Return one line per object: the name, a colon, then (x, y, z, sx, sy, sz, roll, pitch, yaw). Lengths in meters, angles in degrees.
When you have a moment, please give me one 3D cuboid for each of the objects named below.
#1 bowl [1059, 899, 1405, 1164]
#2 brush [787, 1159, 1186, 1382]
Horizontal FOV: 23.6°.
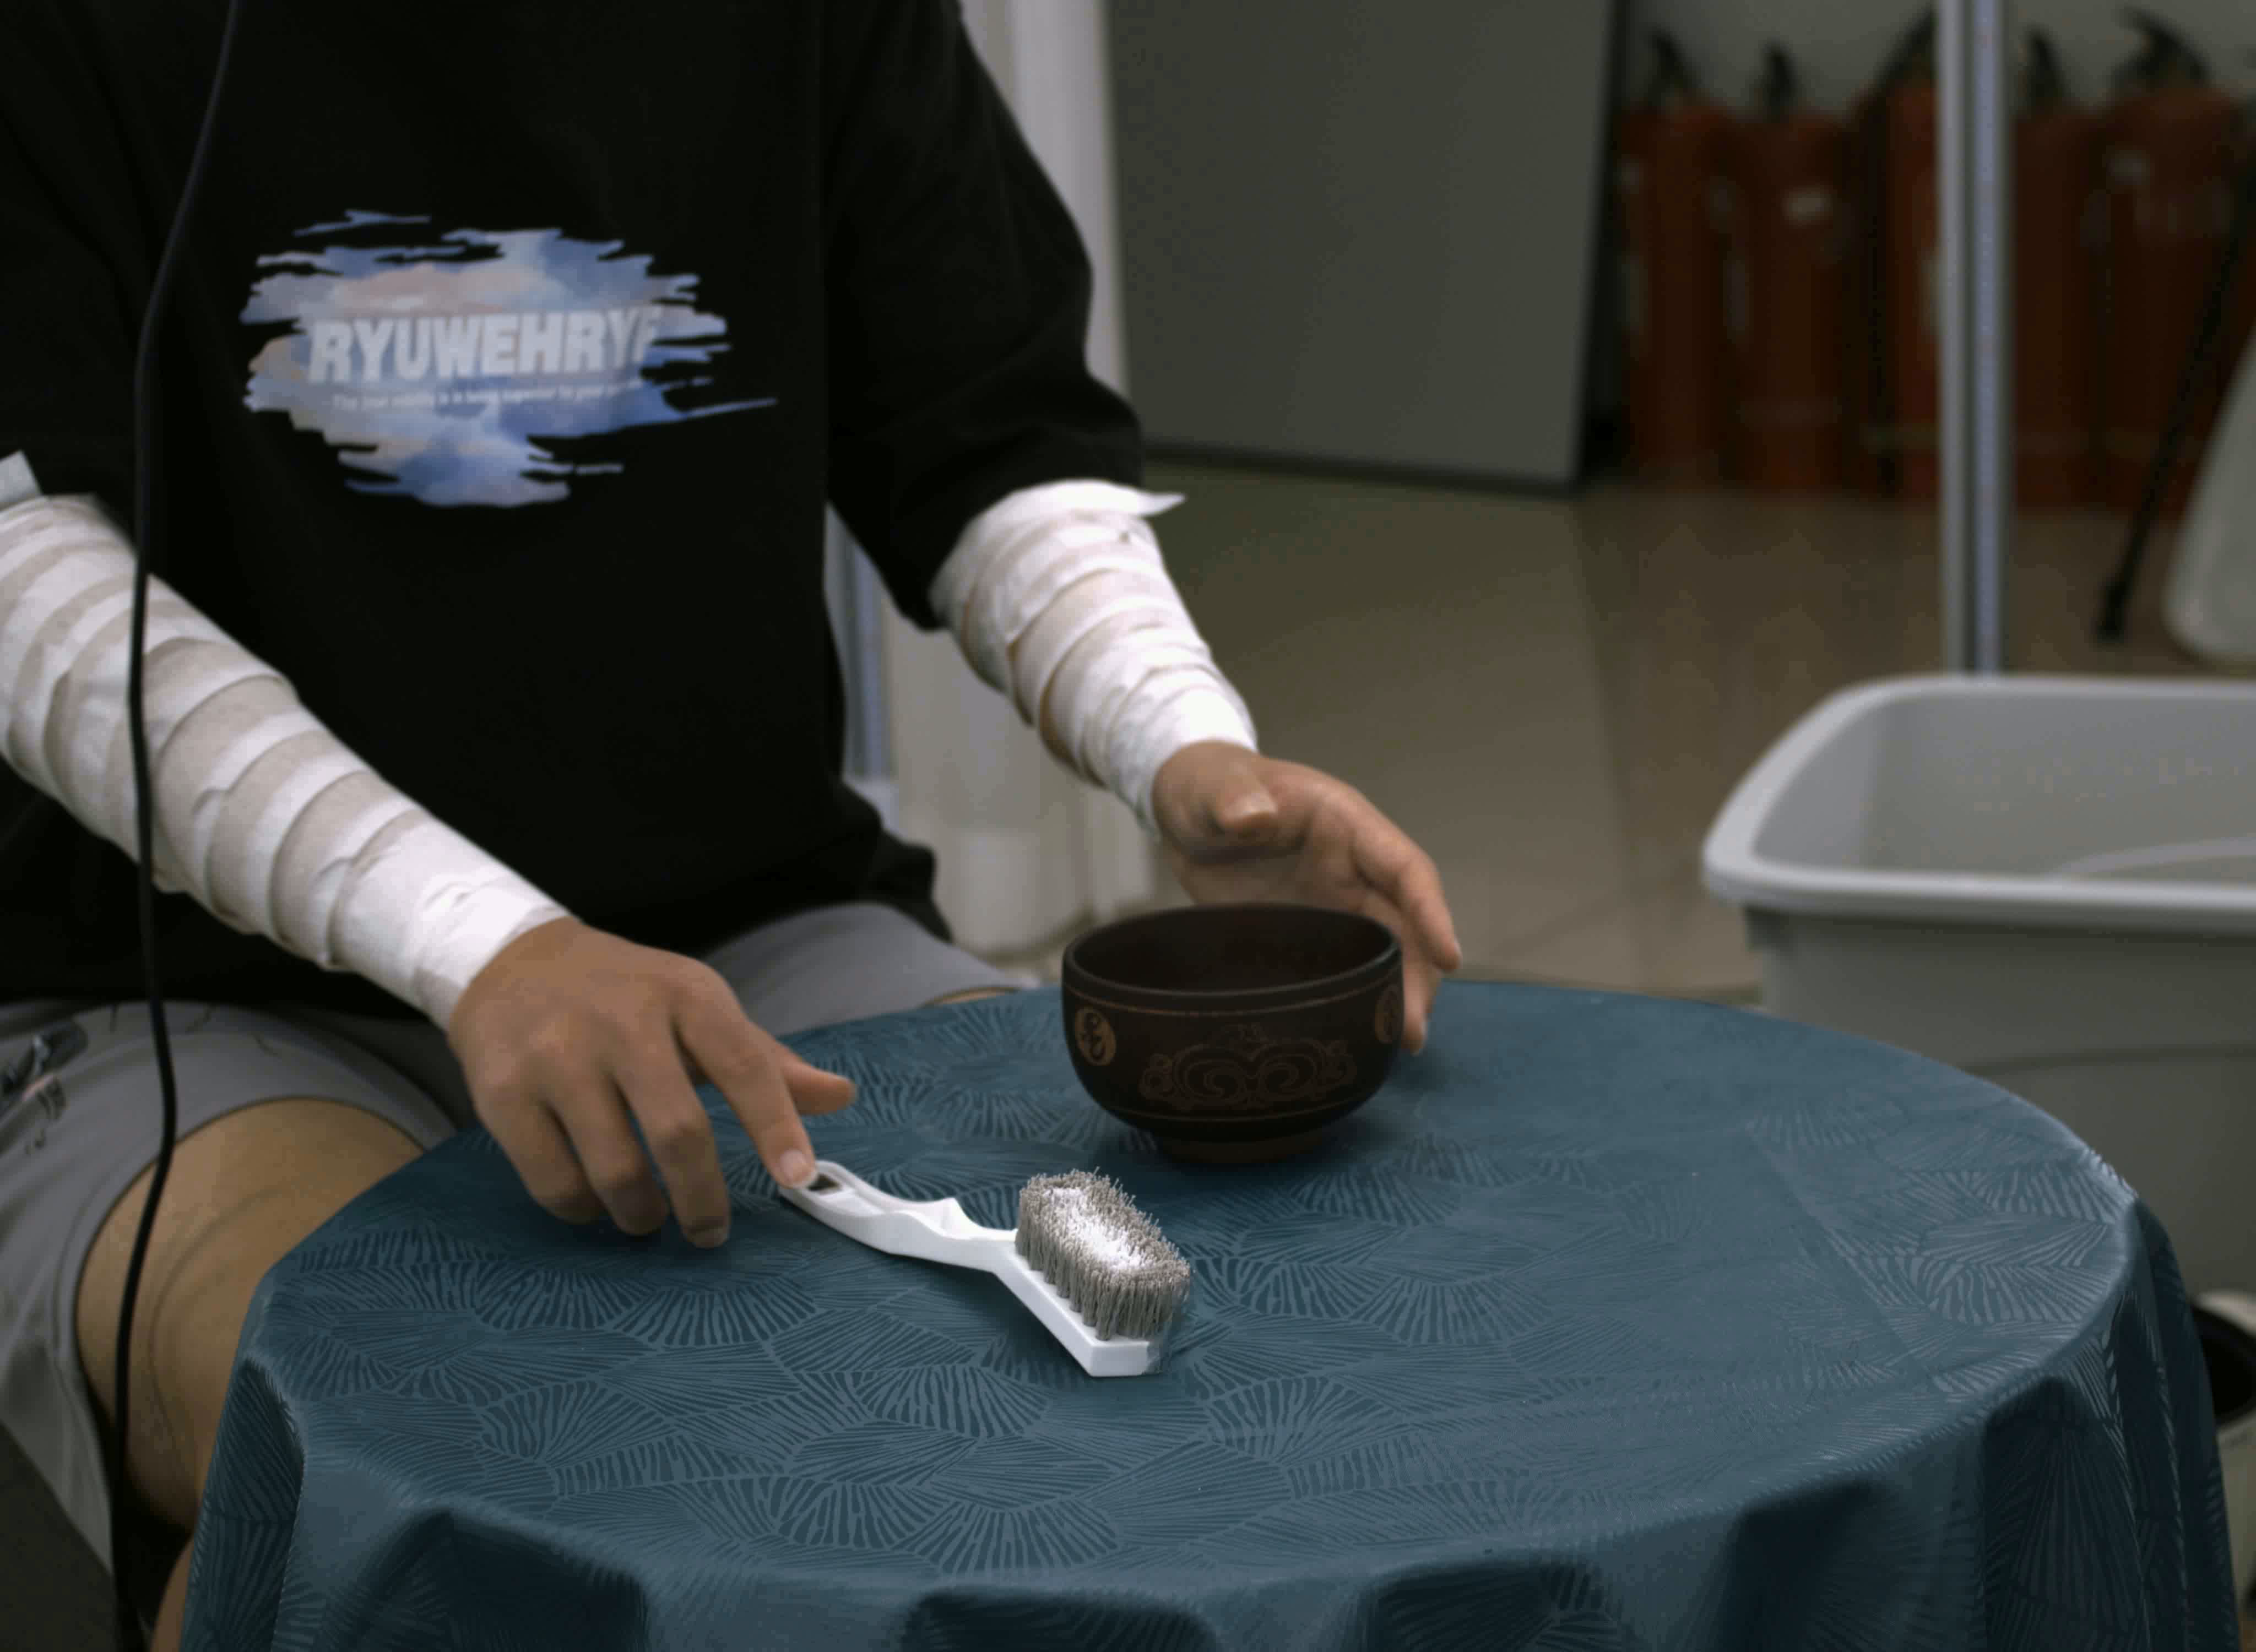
bowl: (0.036, 0.072, 1.810, 0.116, 0.070, 0.118, -6, 13, 0)
brush: (-0.050, 0.119, 1.691, 0.033, 0.051, 0.246, -9, 15, -26)
